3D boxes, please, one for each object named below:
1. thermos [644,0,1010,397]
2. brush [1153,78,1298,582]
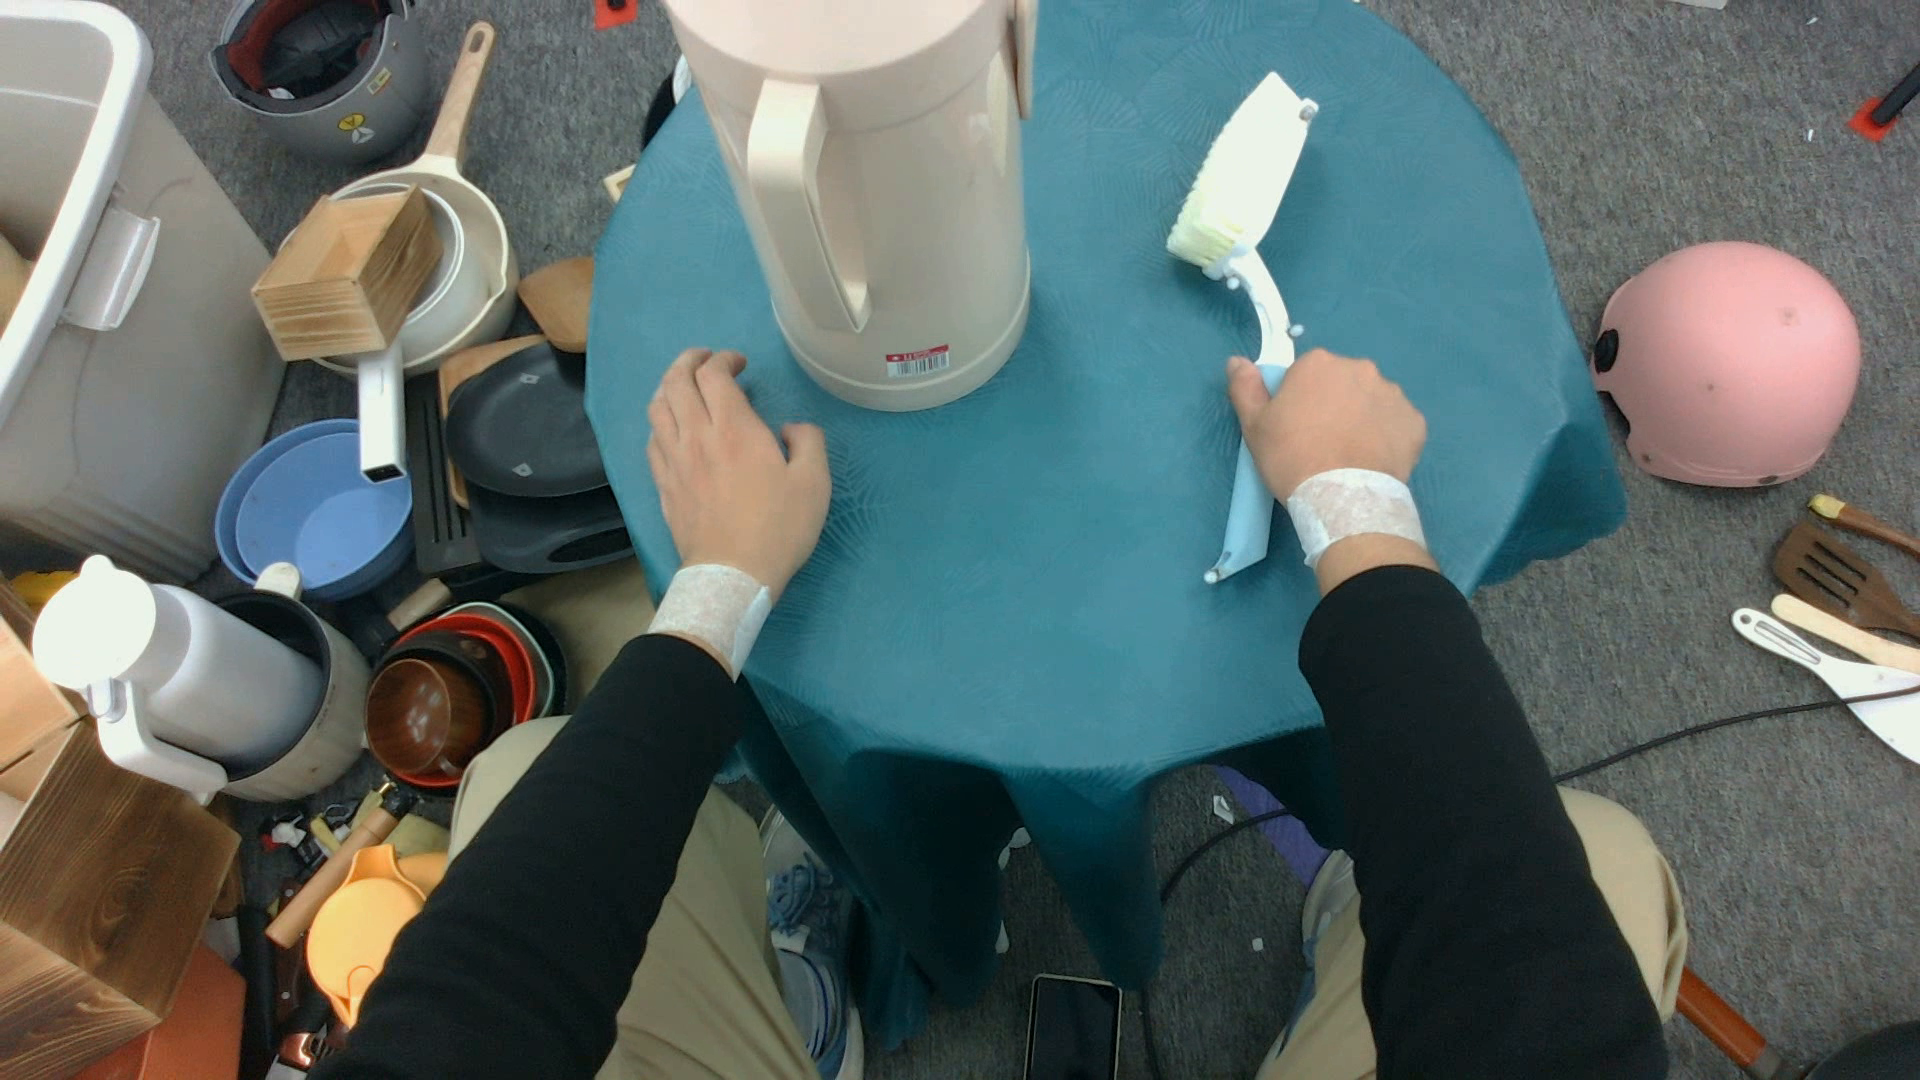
[{"bbox_3d":[-0.065,-0.217,0.673,0.175,0.405,0.208,9,69,5],"label":"thermos"},{"bbox_3d":[0.143,-0.136,0.806,0.084,0.083,0.326,5,70,21],"label":"brush"}]
